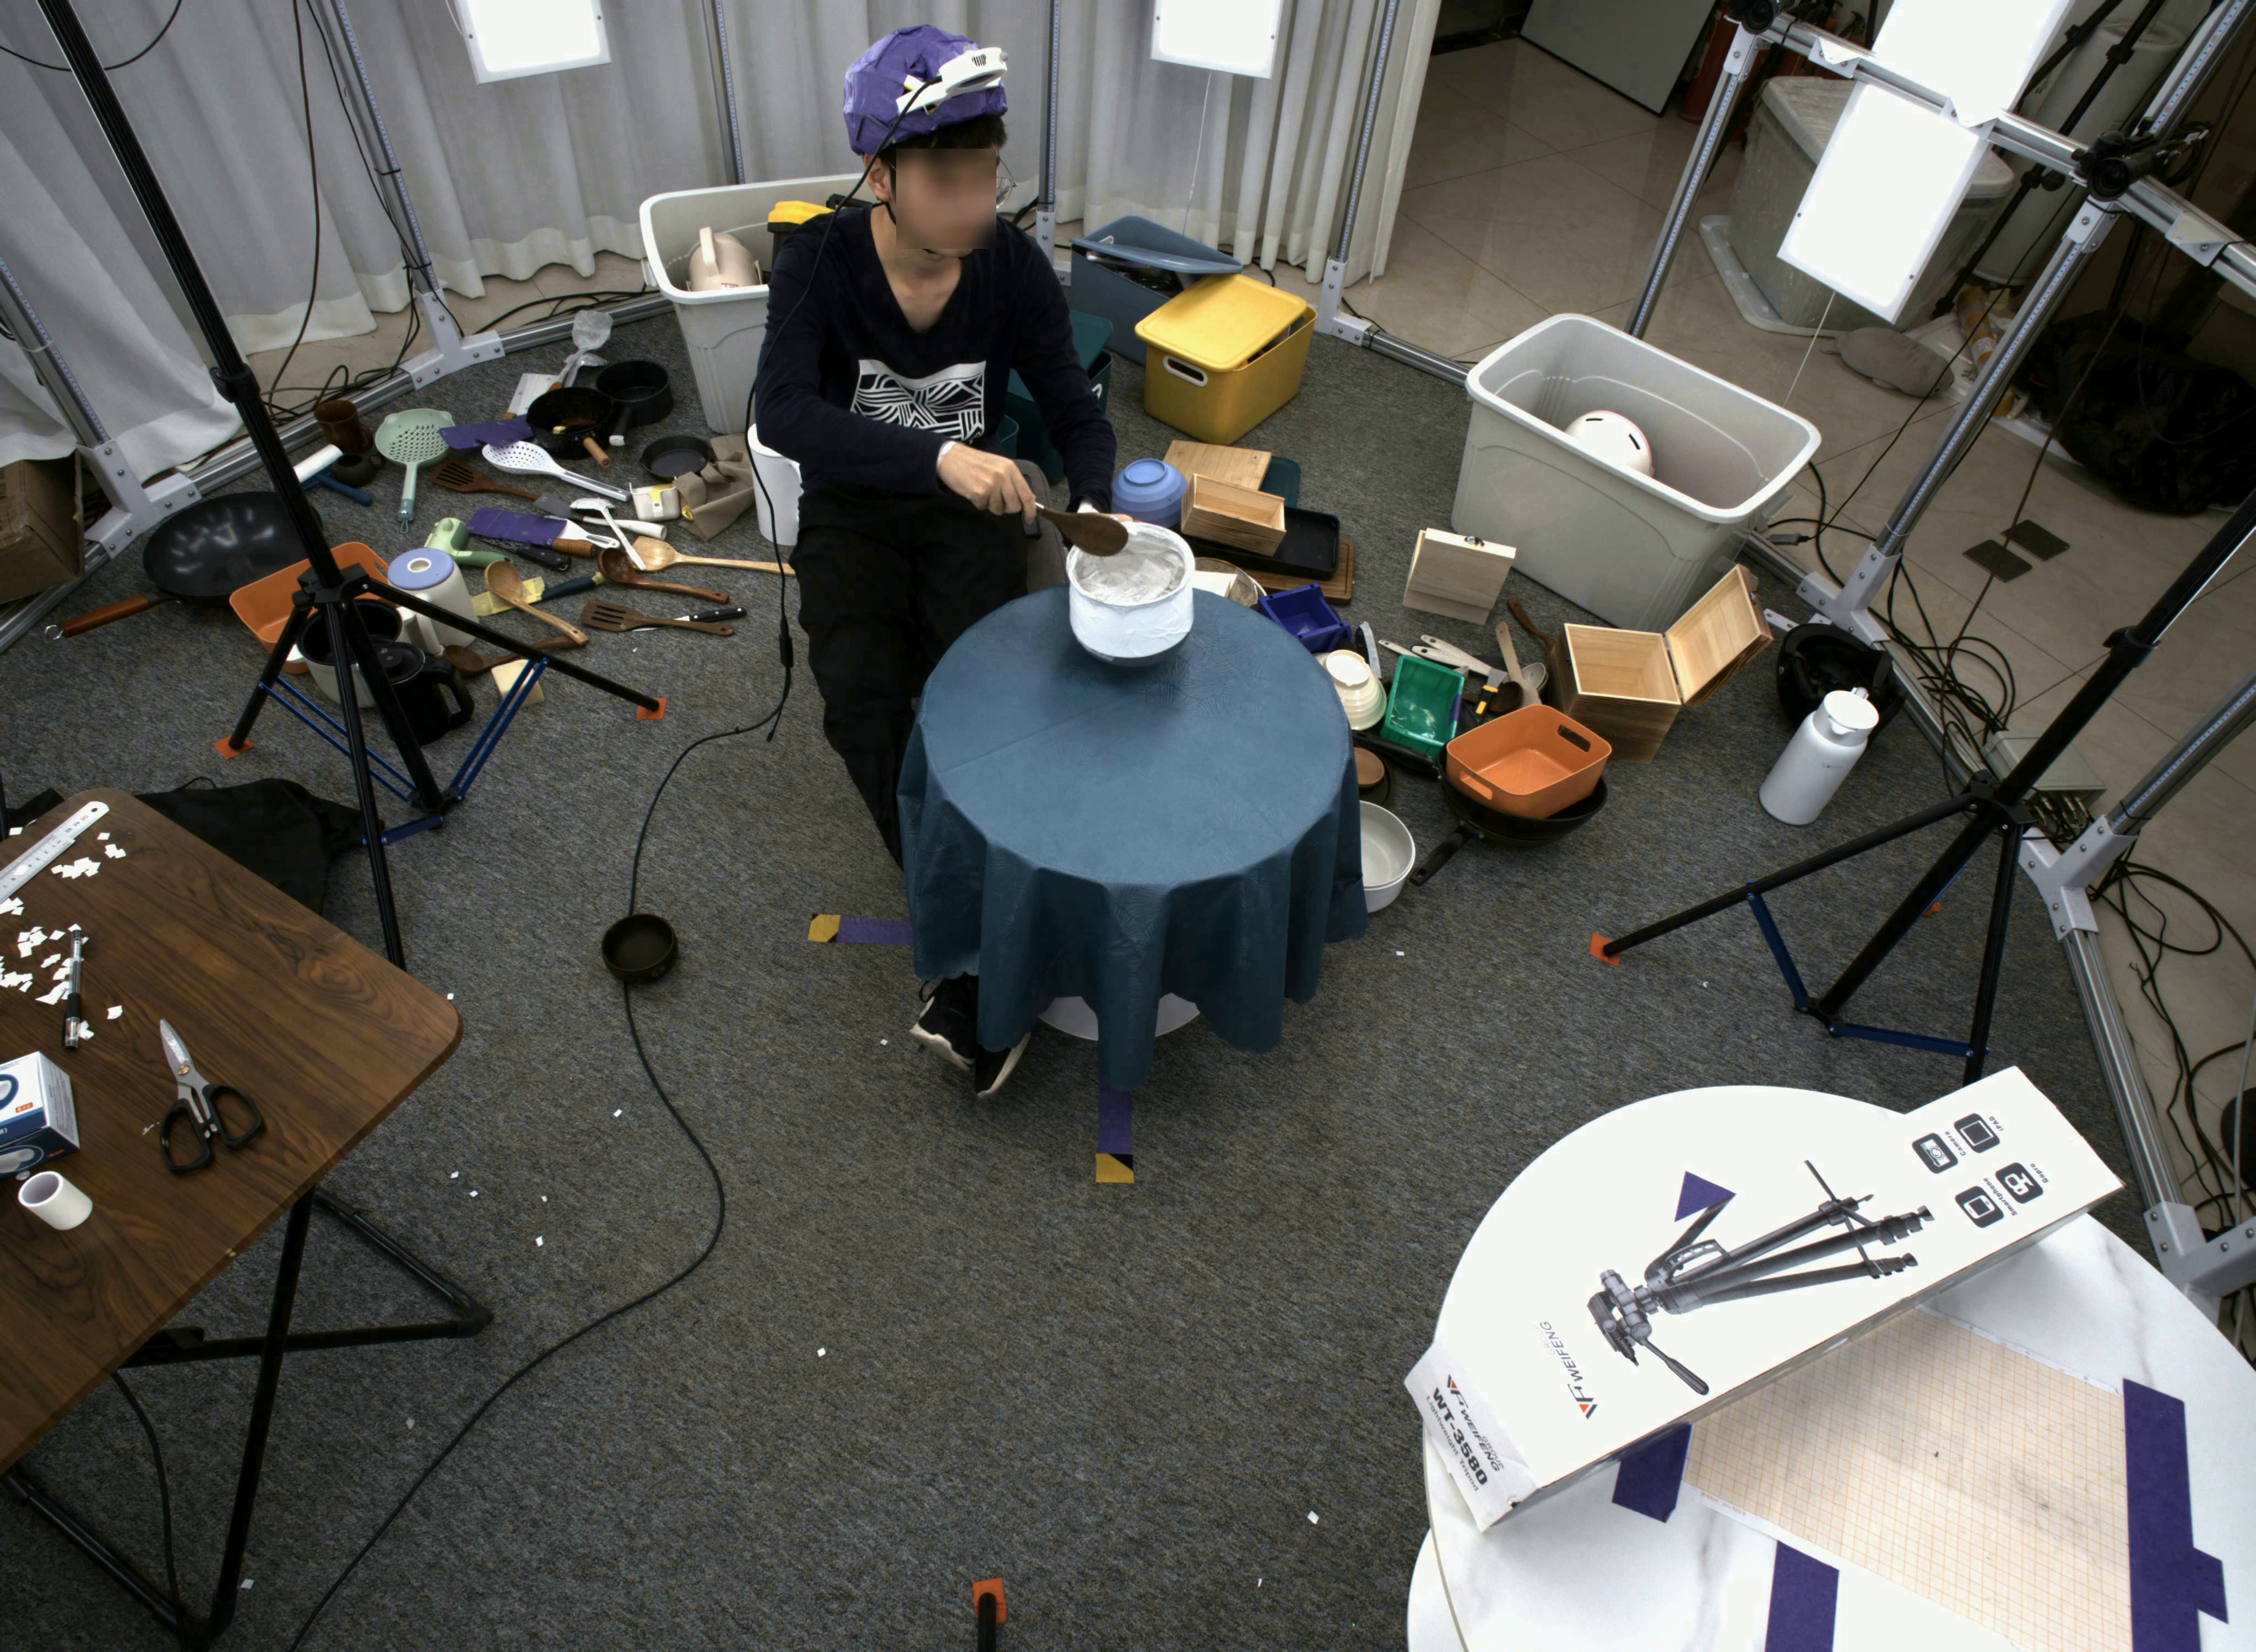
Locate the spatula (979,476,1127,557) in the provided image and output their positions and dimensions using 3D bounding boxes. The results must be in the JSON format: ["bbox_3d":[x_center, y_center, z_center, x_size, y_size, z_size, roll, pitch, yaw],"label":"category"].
[{"bbox_3d":[-0.101,-0.426,1.751,0.214,0.070,0.009,23,51,-11],"label":"spatula"}]

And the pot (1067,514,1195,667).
[{"bbox_3d":[-0.005,-0.345,1.837,0.178,0.133,0.239,-12,52,-11],"label":"pot"}]
